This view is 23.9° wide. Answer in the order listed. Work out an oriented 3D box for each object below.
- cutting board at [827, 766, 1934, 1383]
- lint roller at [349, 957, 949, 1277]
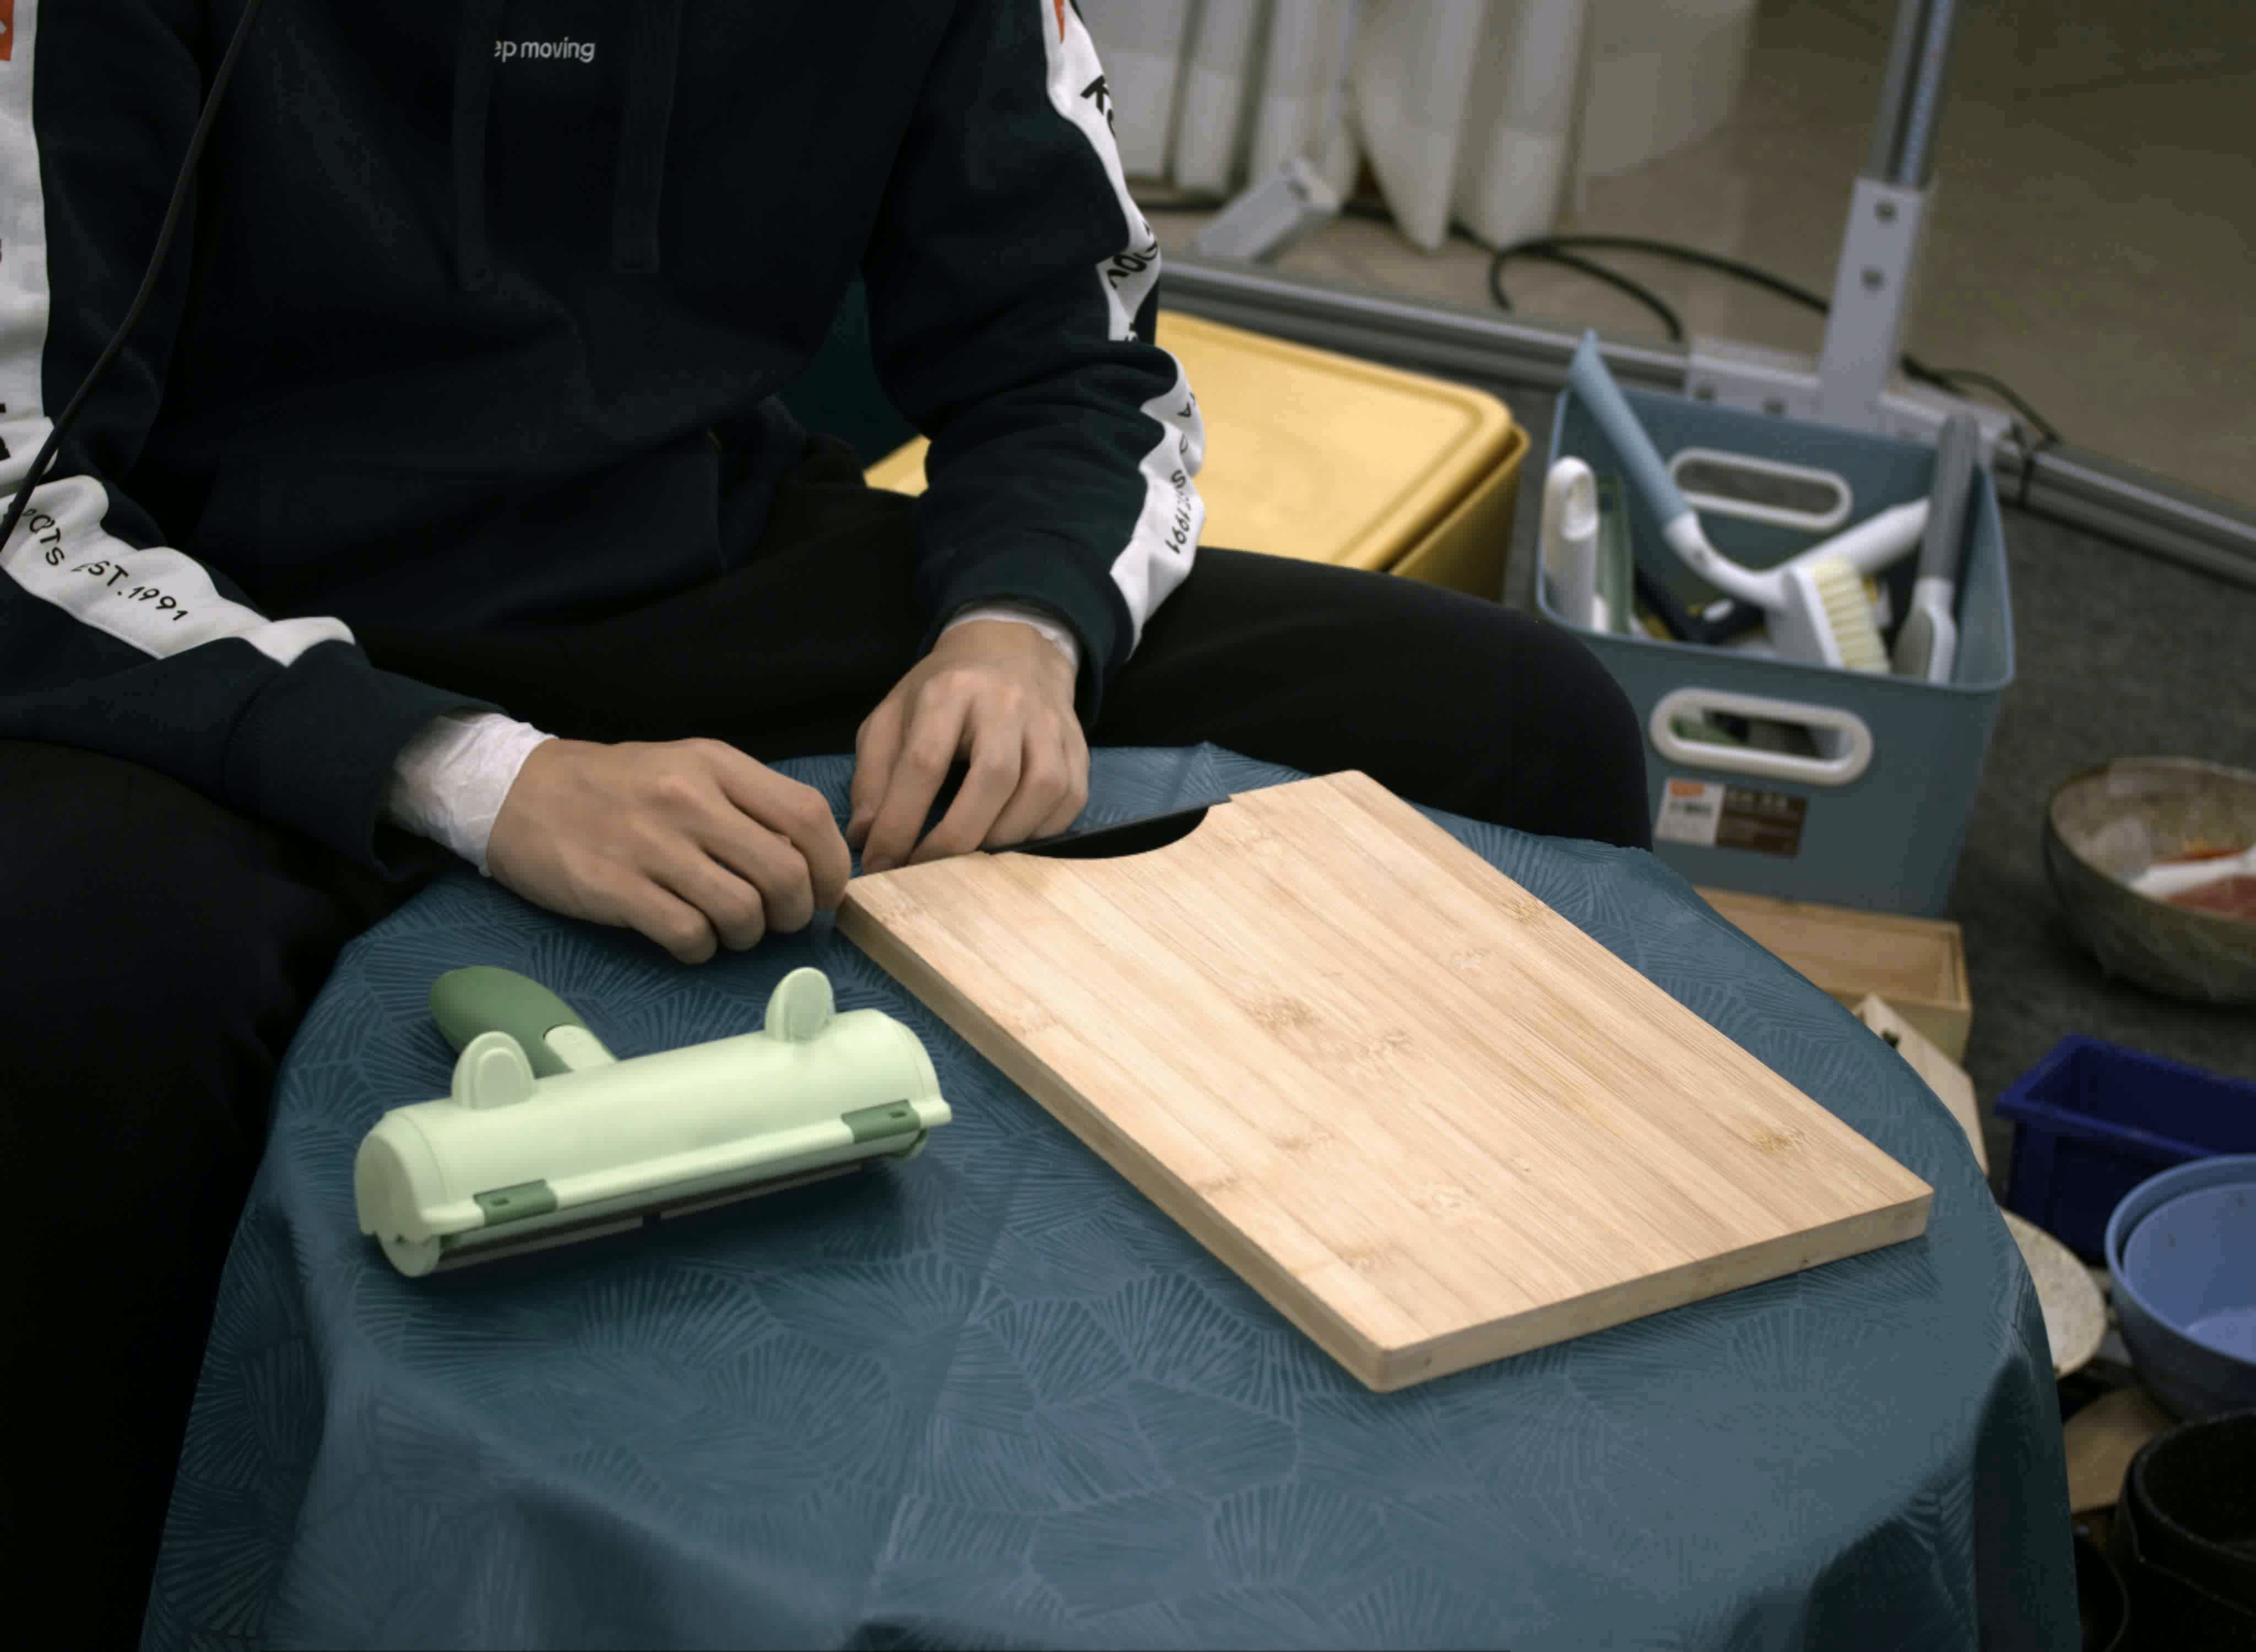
[{"bbox_3d":[0.083,0.080,1.886,0.249,0.023,0.352,-12,32,-33],"label":"cutting board"},{"bbox_3d":[-0.185,0.070,1.776,0.197,0.082,0.185,-11,35,-31],"label":"lint roller"}]
